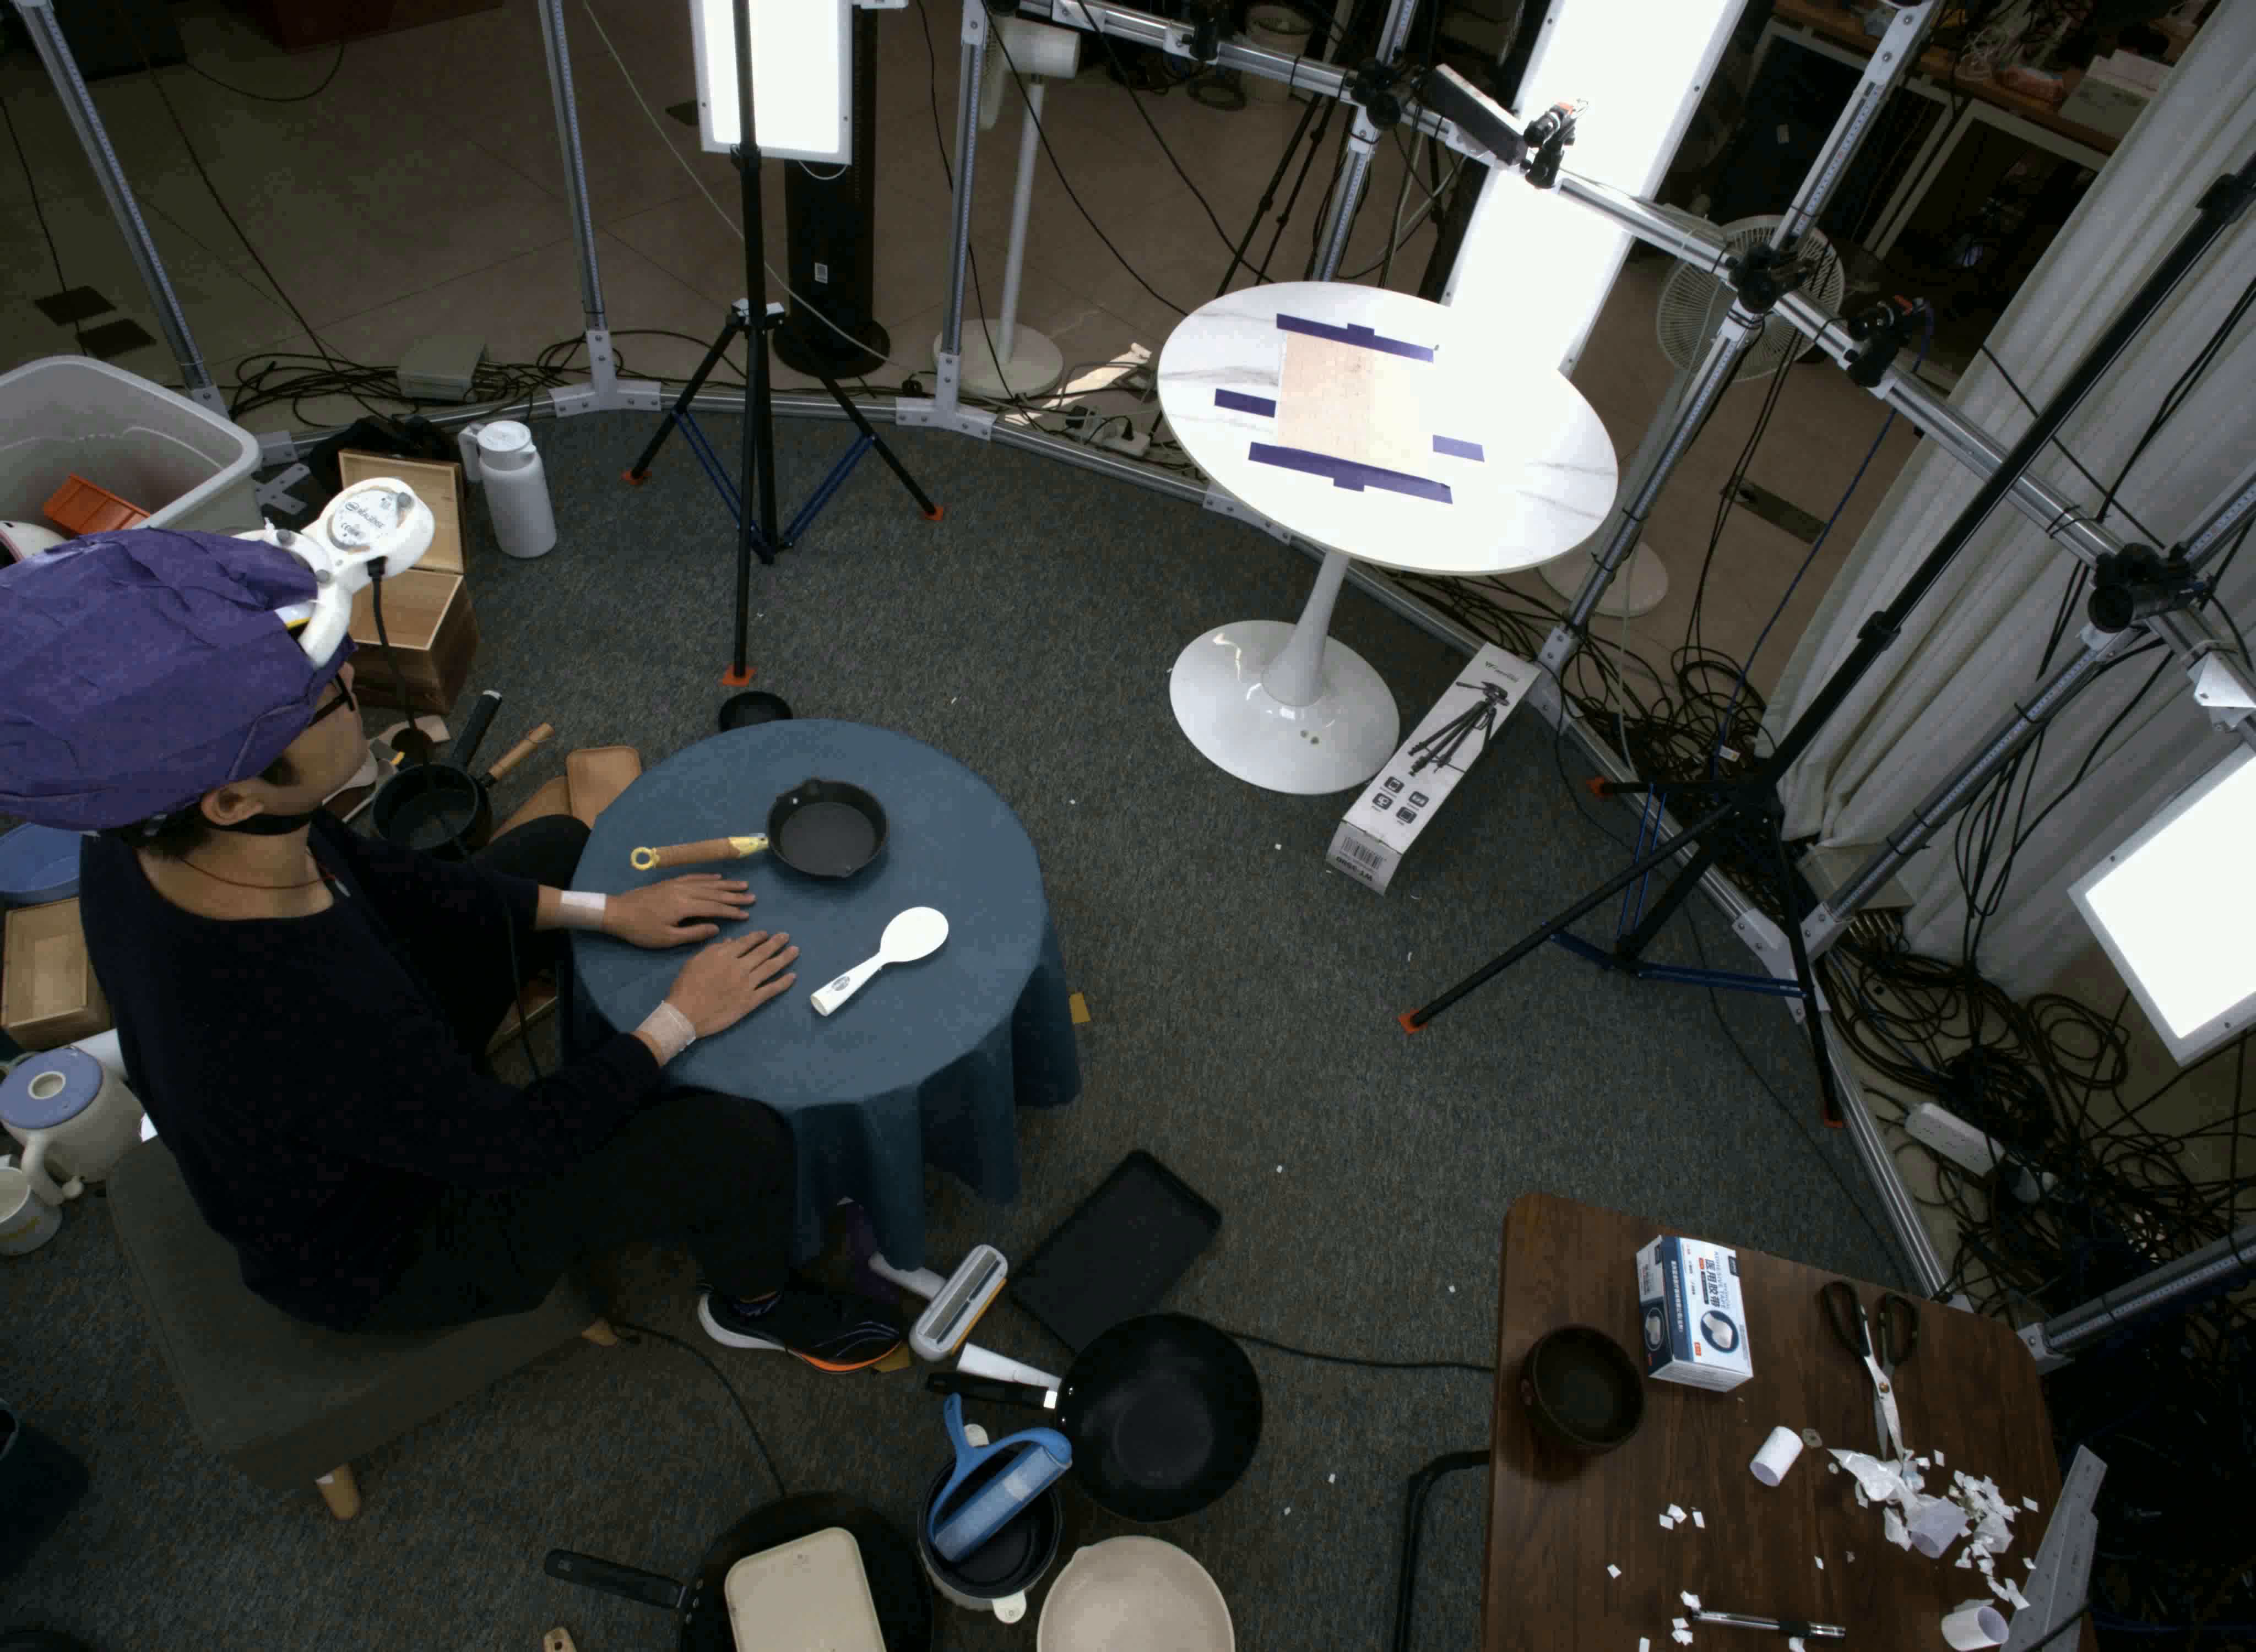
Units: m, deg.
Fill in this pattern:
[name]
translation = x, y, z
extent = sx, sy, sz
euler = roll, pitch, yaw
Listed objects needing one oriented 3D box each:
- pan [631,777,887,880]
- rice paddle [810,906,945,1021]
[pan]
translation = -0.470, 0.019, 1.655
extent = 0.326, 0.050, 0.165
euler = -11, 57, -24
[rice paddle]
translation = -0.306, 0.162, 1.605
extent = 0.067, 0.030, 0.205
euler = 40, 55, 14
